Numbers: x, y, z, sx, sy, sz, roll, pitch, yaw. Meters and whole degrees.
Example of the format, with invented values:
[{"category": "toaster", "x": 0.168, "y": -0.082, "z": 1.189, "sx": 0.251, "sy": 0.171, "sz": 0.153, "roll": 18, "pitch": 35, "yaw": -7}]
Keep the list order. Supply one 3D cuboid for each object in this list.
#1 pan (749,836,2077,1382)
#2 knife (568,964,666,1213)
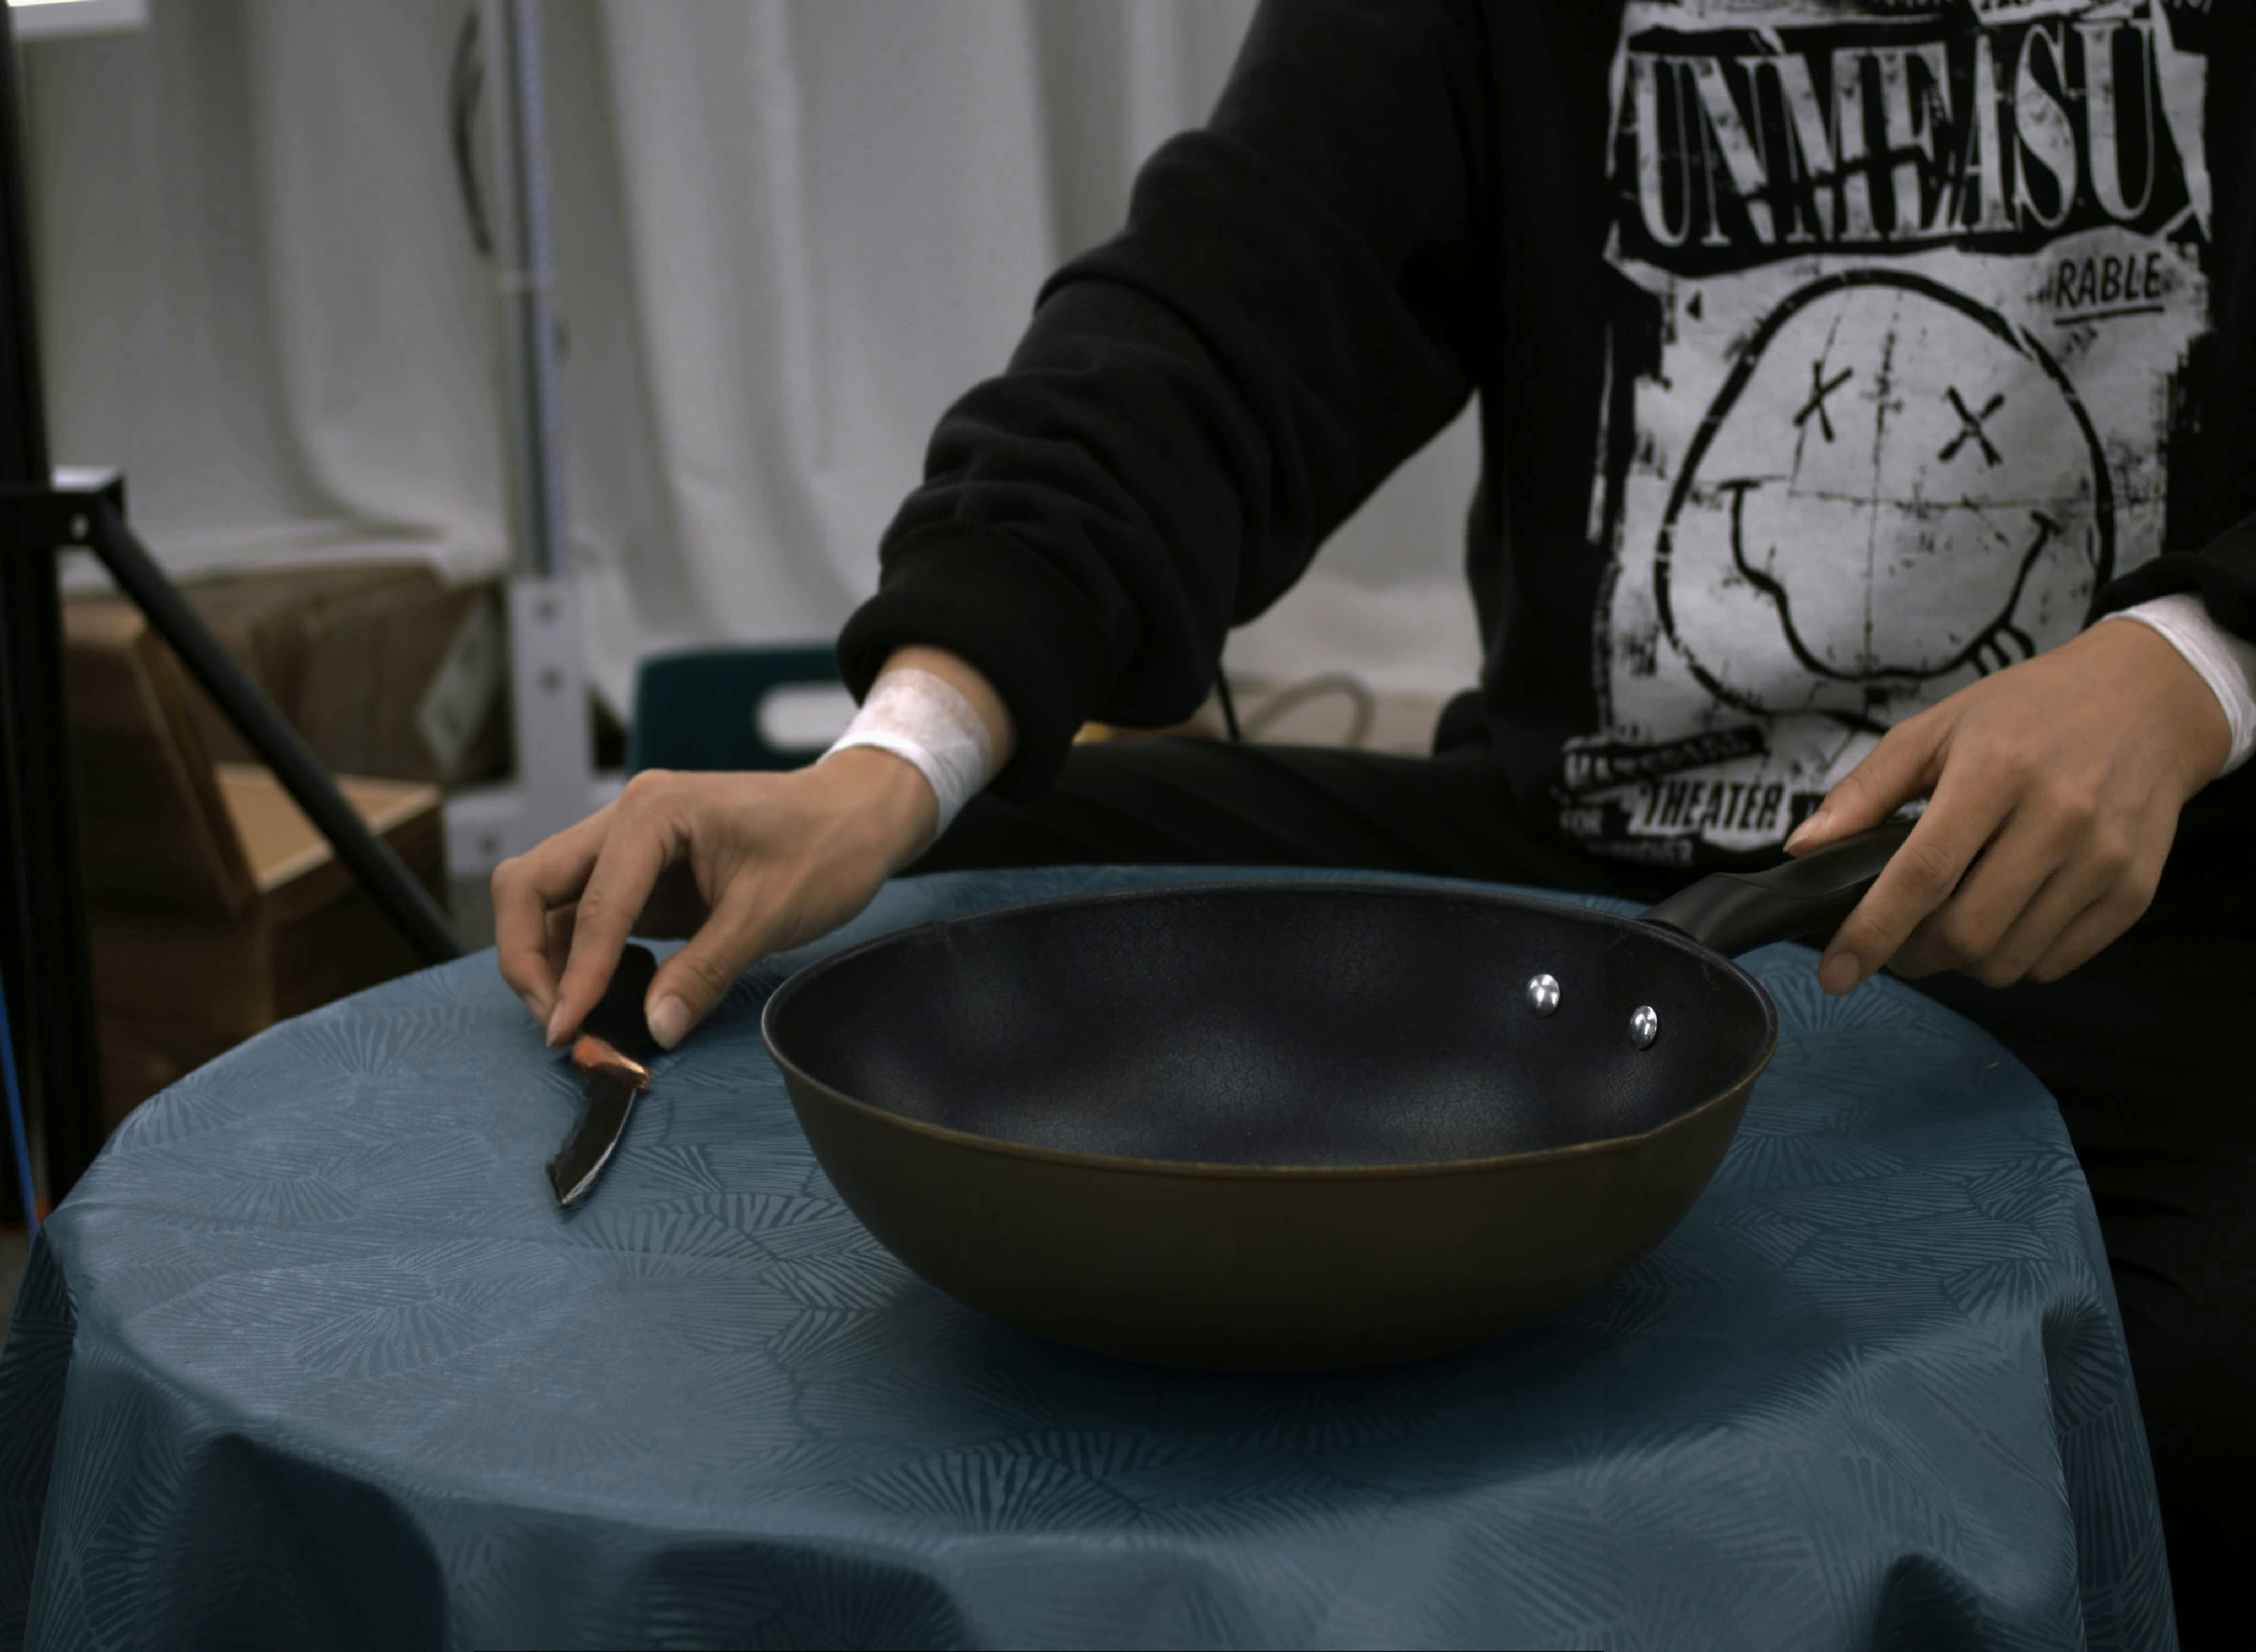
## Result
[{"category": "pan", "x": 0.105, "y": 0.075, "z": 1.513, "sx": 0.452, "sy": 0.087, "sz": 0.295, "roll": -11, "pitch": 17, "yaw": -38}, {"category": "knife", "x": -0.161, "y": 0.080, "z": 1.661, "sx": 0.026, "sy": 0.017, "sz": 0.226, "roll": 21, "pitch": 14, "yaw": -6}]
